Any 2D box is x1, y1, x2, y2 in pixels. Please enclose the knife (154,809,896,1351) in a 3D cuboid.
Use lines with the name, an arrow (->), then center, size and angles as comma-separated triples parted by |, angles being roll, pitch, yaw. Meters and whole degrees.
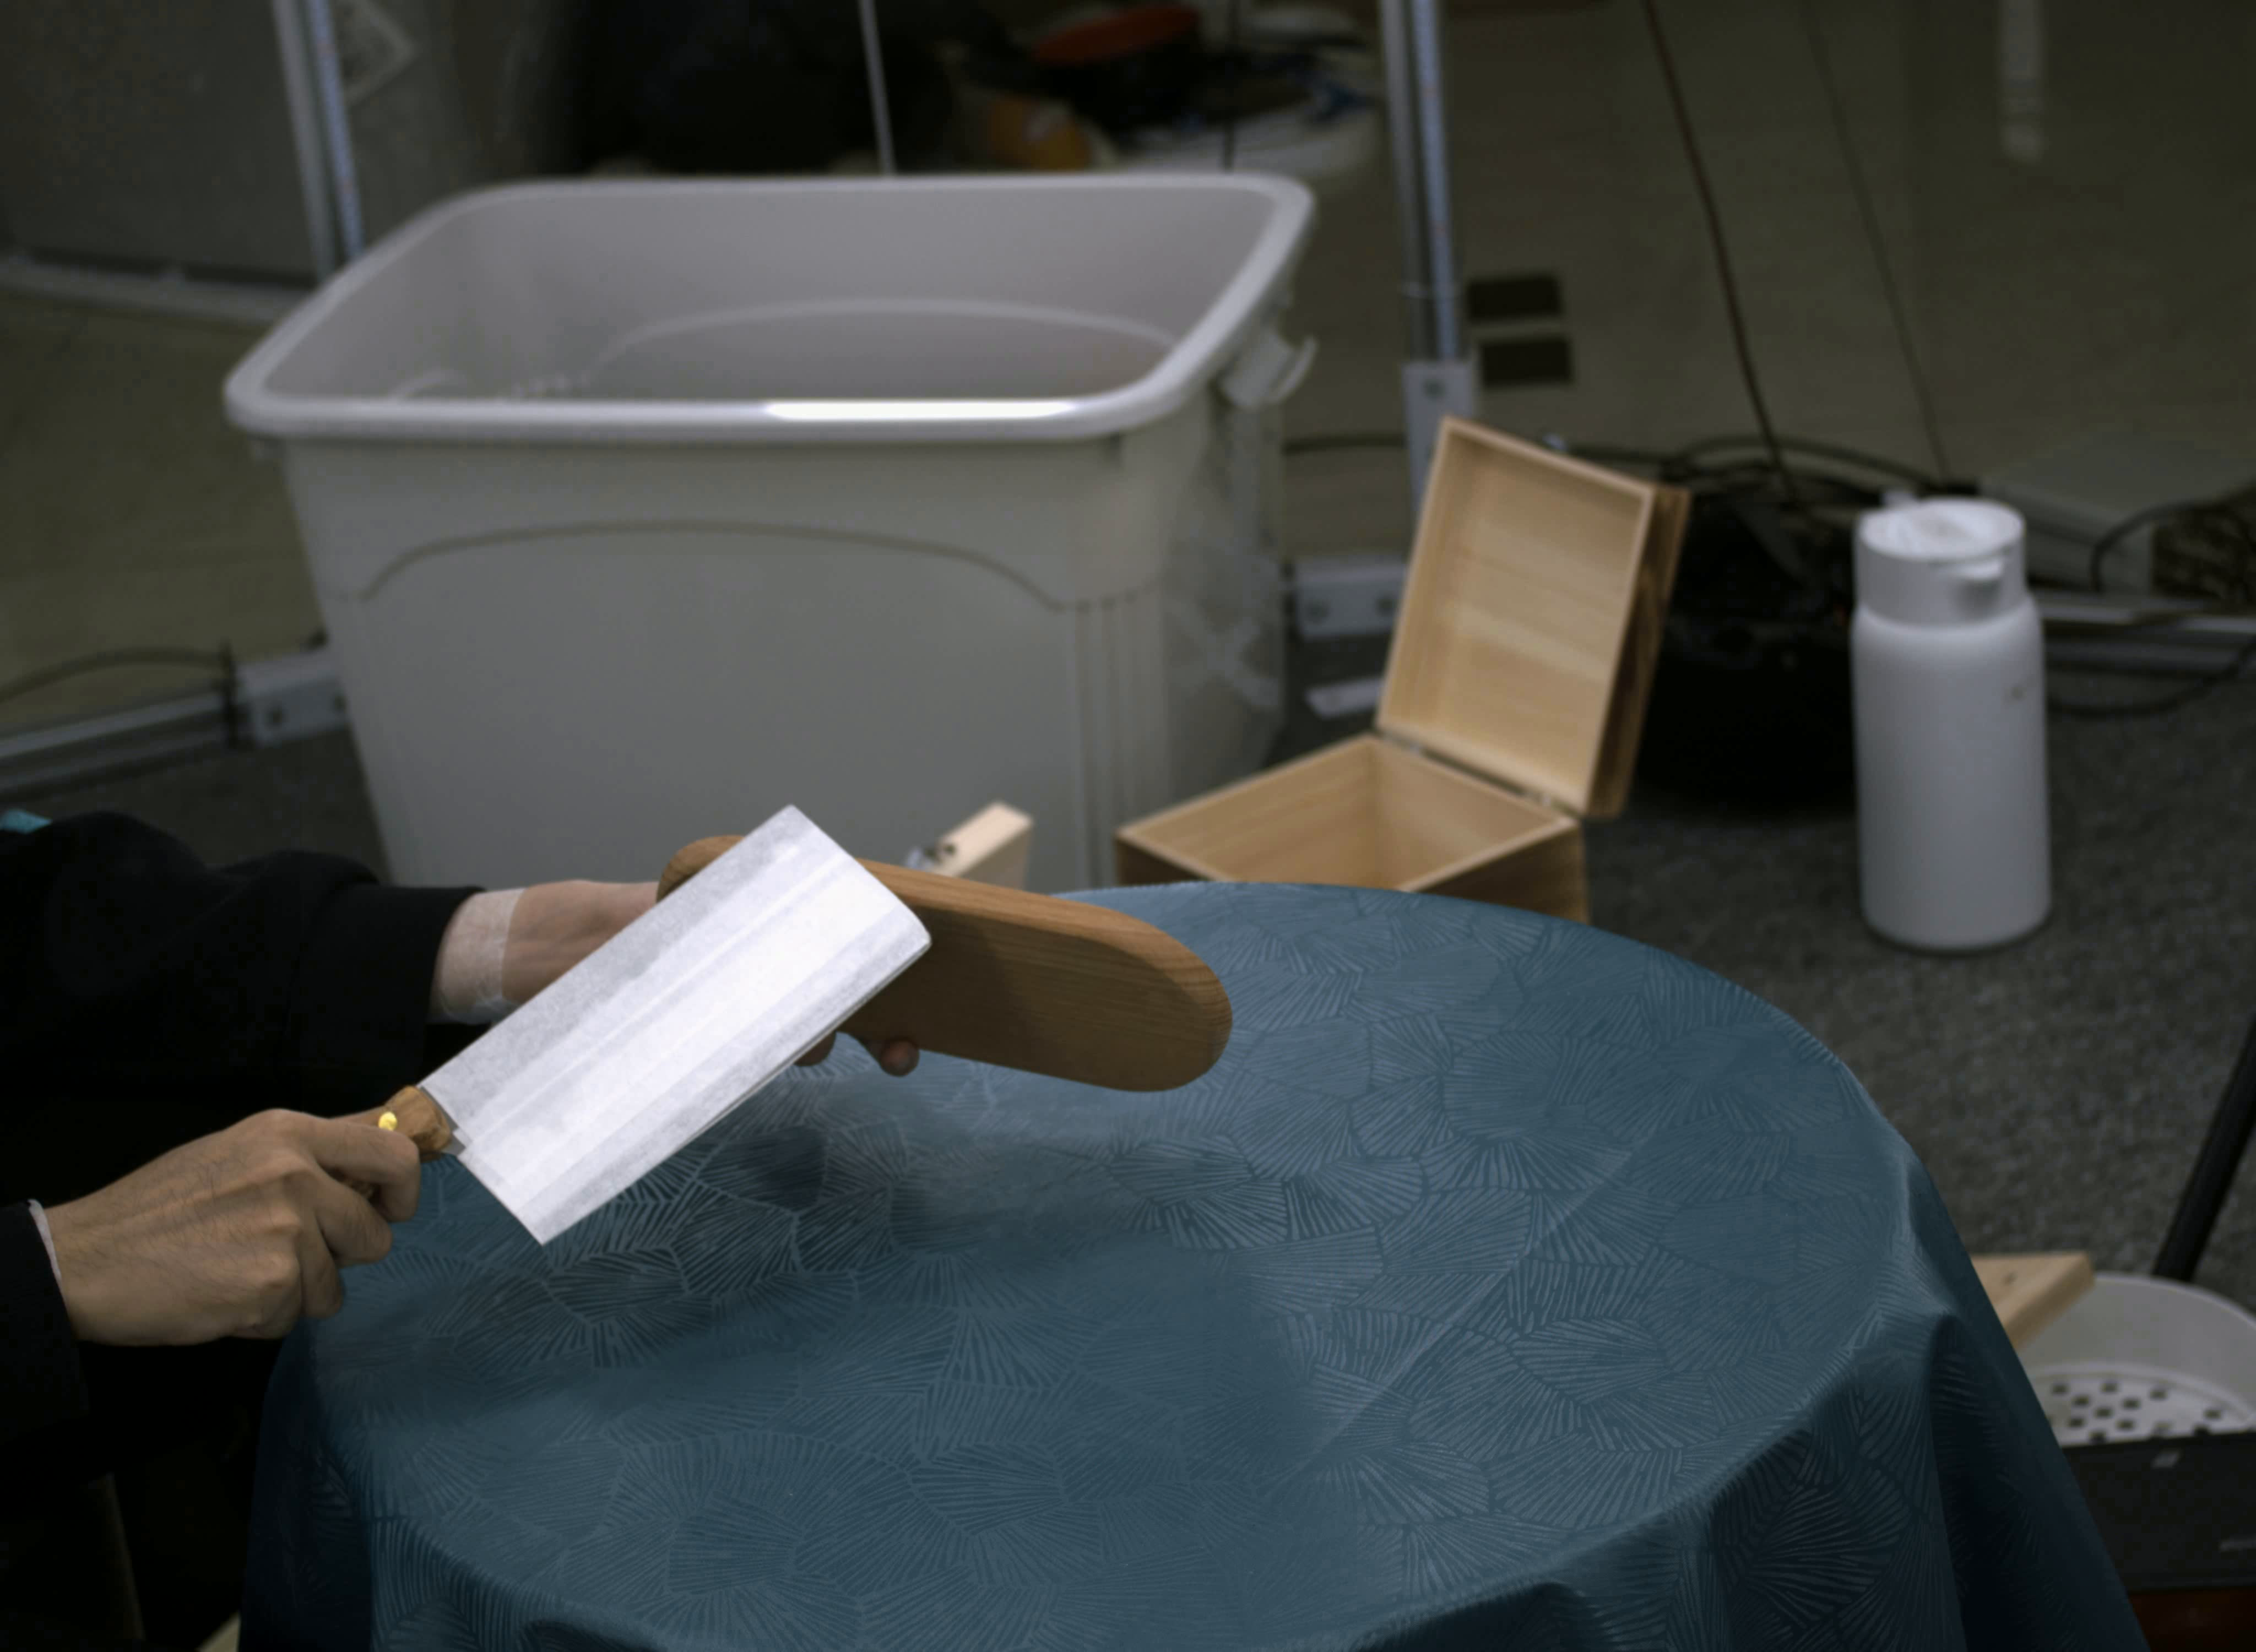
knife -> -0.213, 0.103, 2.071 | 0.303, 0.021, 0.092 | -38, 59, -18

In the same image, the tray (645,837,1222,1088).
tray -> -0.076, 0.053, 2.150 | 0.230, 0.103, 0.020 | 9, 52, 15
